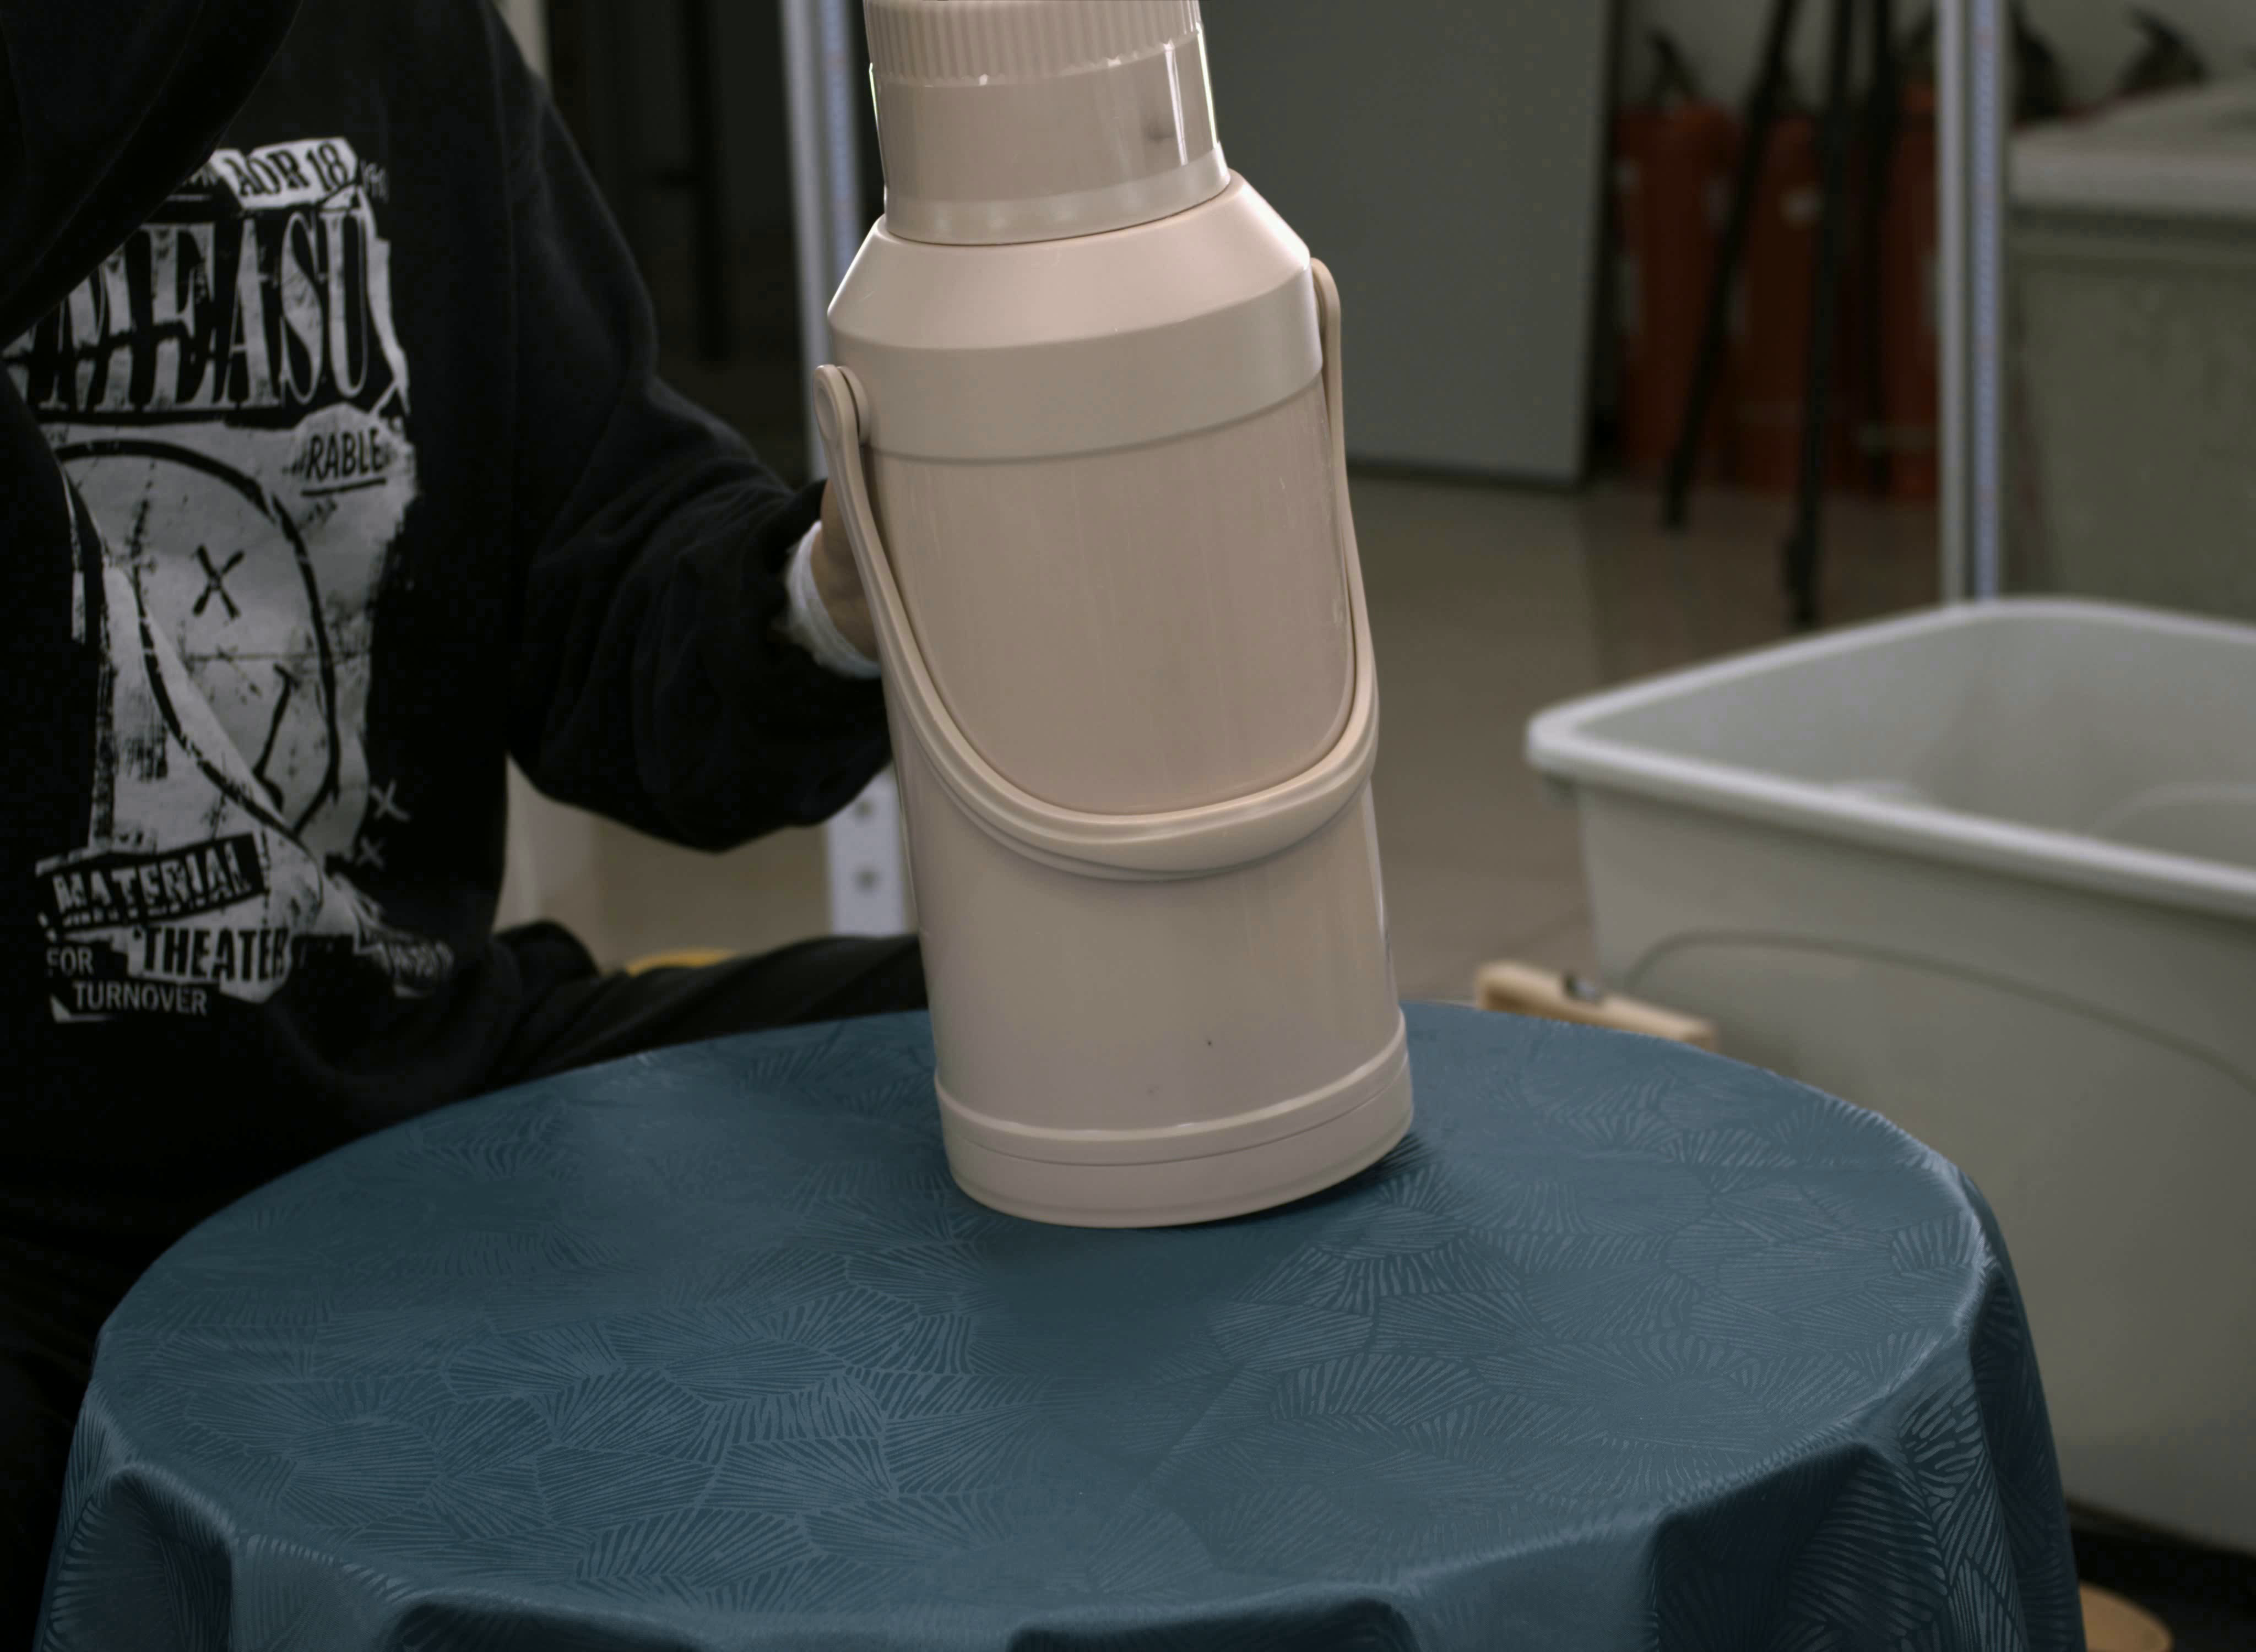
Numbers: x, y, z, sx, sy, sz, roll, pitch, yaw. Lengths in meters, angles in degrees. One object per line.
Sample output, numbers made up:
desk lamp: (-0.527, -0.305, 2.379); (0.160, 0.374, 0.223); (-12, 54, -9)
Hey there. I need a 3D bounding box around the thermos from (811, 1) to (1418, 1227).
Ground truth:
thermos: (-0.011, -0.088, 1.762); (0.172, 0.410, 0.209); (-16, 19, -19)
